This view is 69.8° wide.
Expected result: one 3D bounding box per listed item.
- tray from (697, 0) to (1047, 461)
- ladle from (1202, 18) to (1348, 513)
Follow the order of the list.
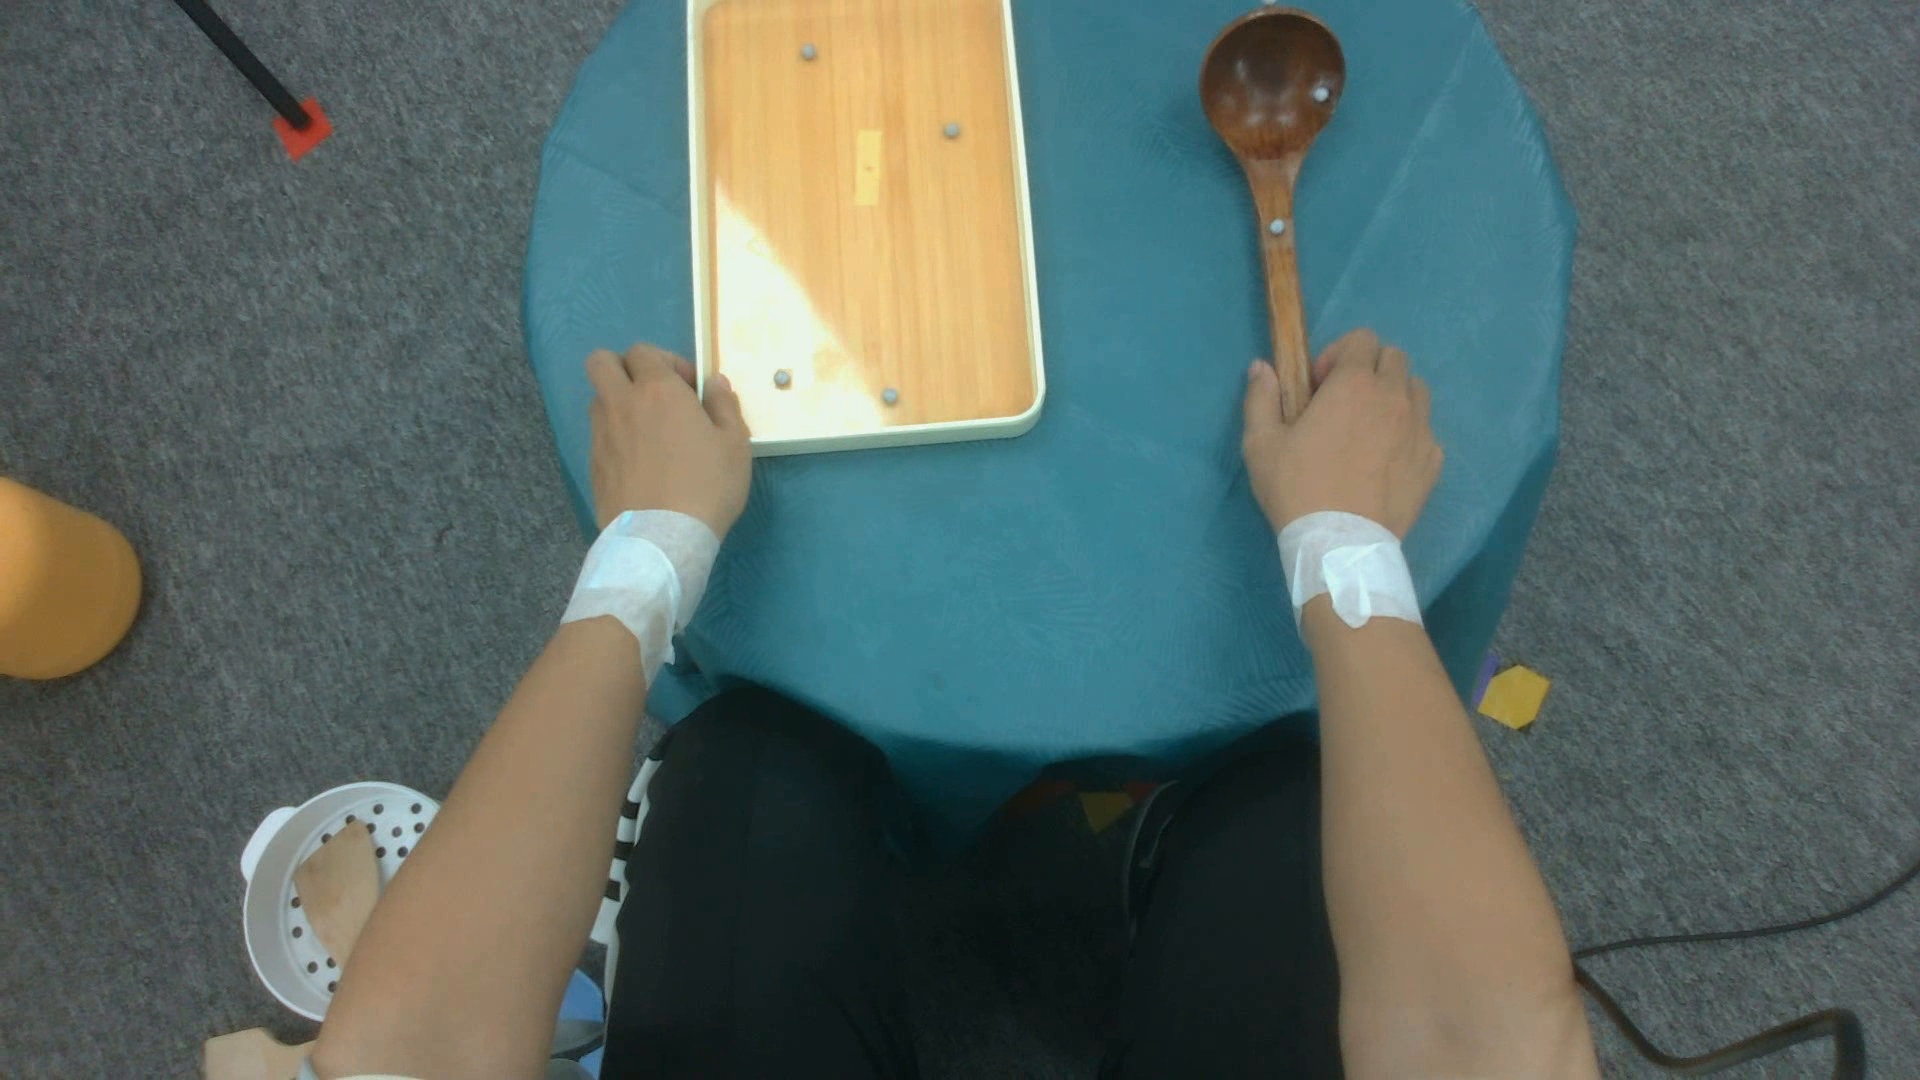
[{"bbox_3d":[-0.055,-0.196,0.807,0.191,0.027,0.301,-4,74,1],"label":"tray"},{"bbox_3d":[0.181,-0.156,0.760,0.082,0.076,0.274,-3,74,8],"label":"ladle"}]
